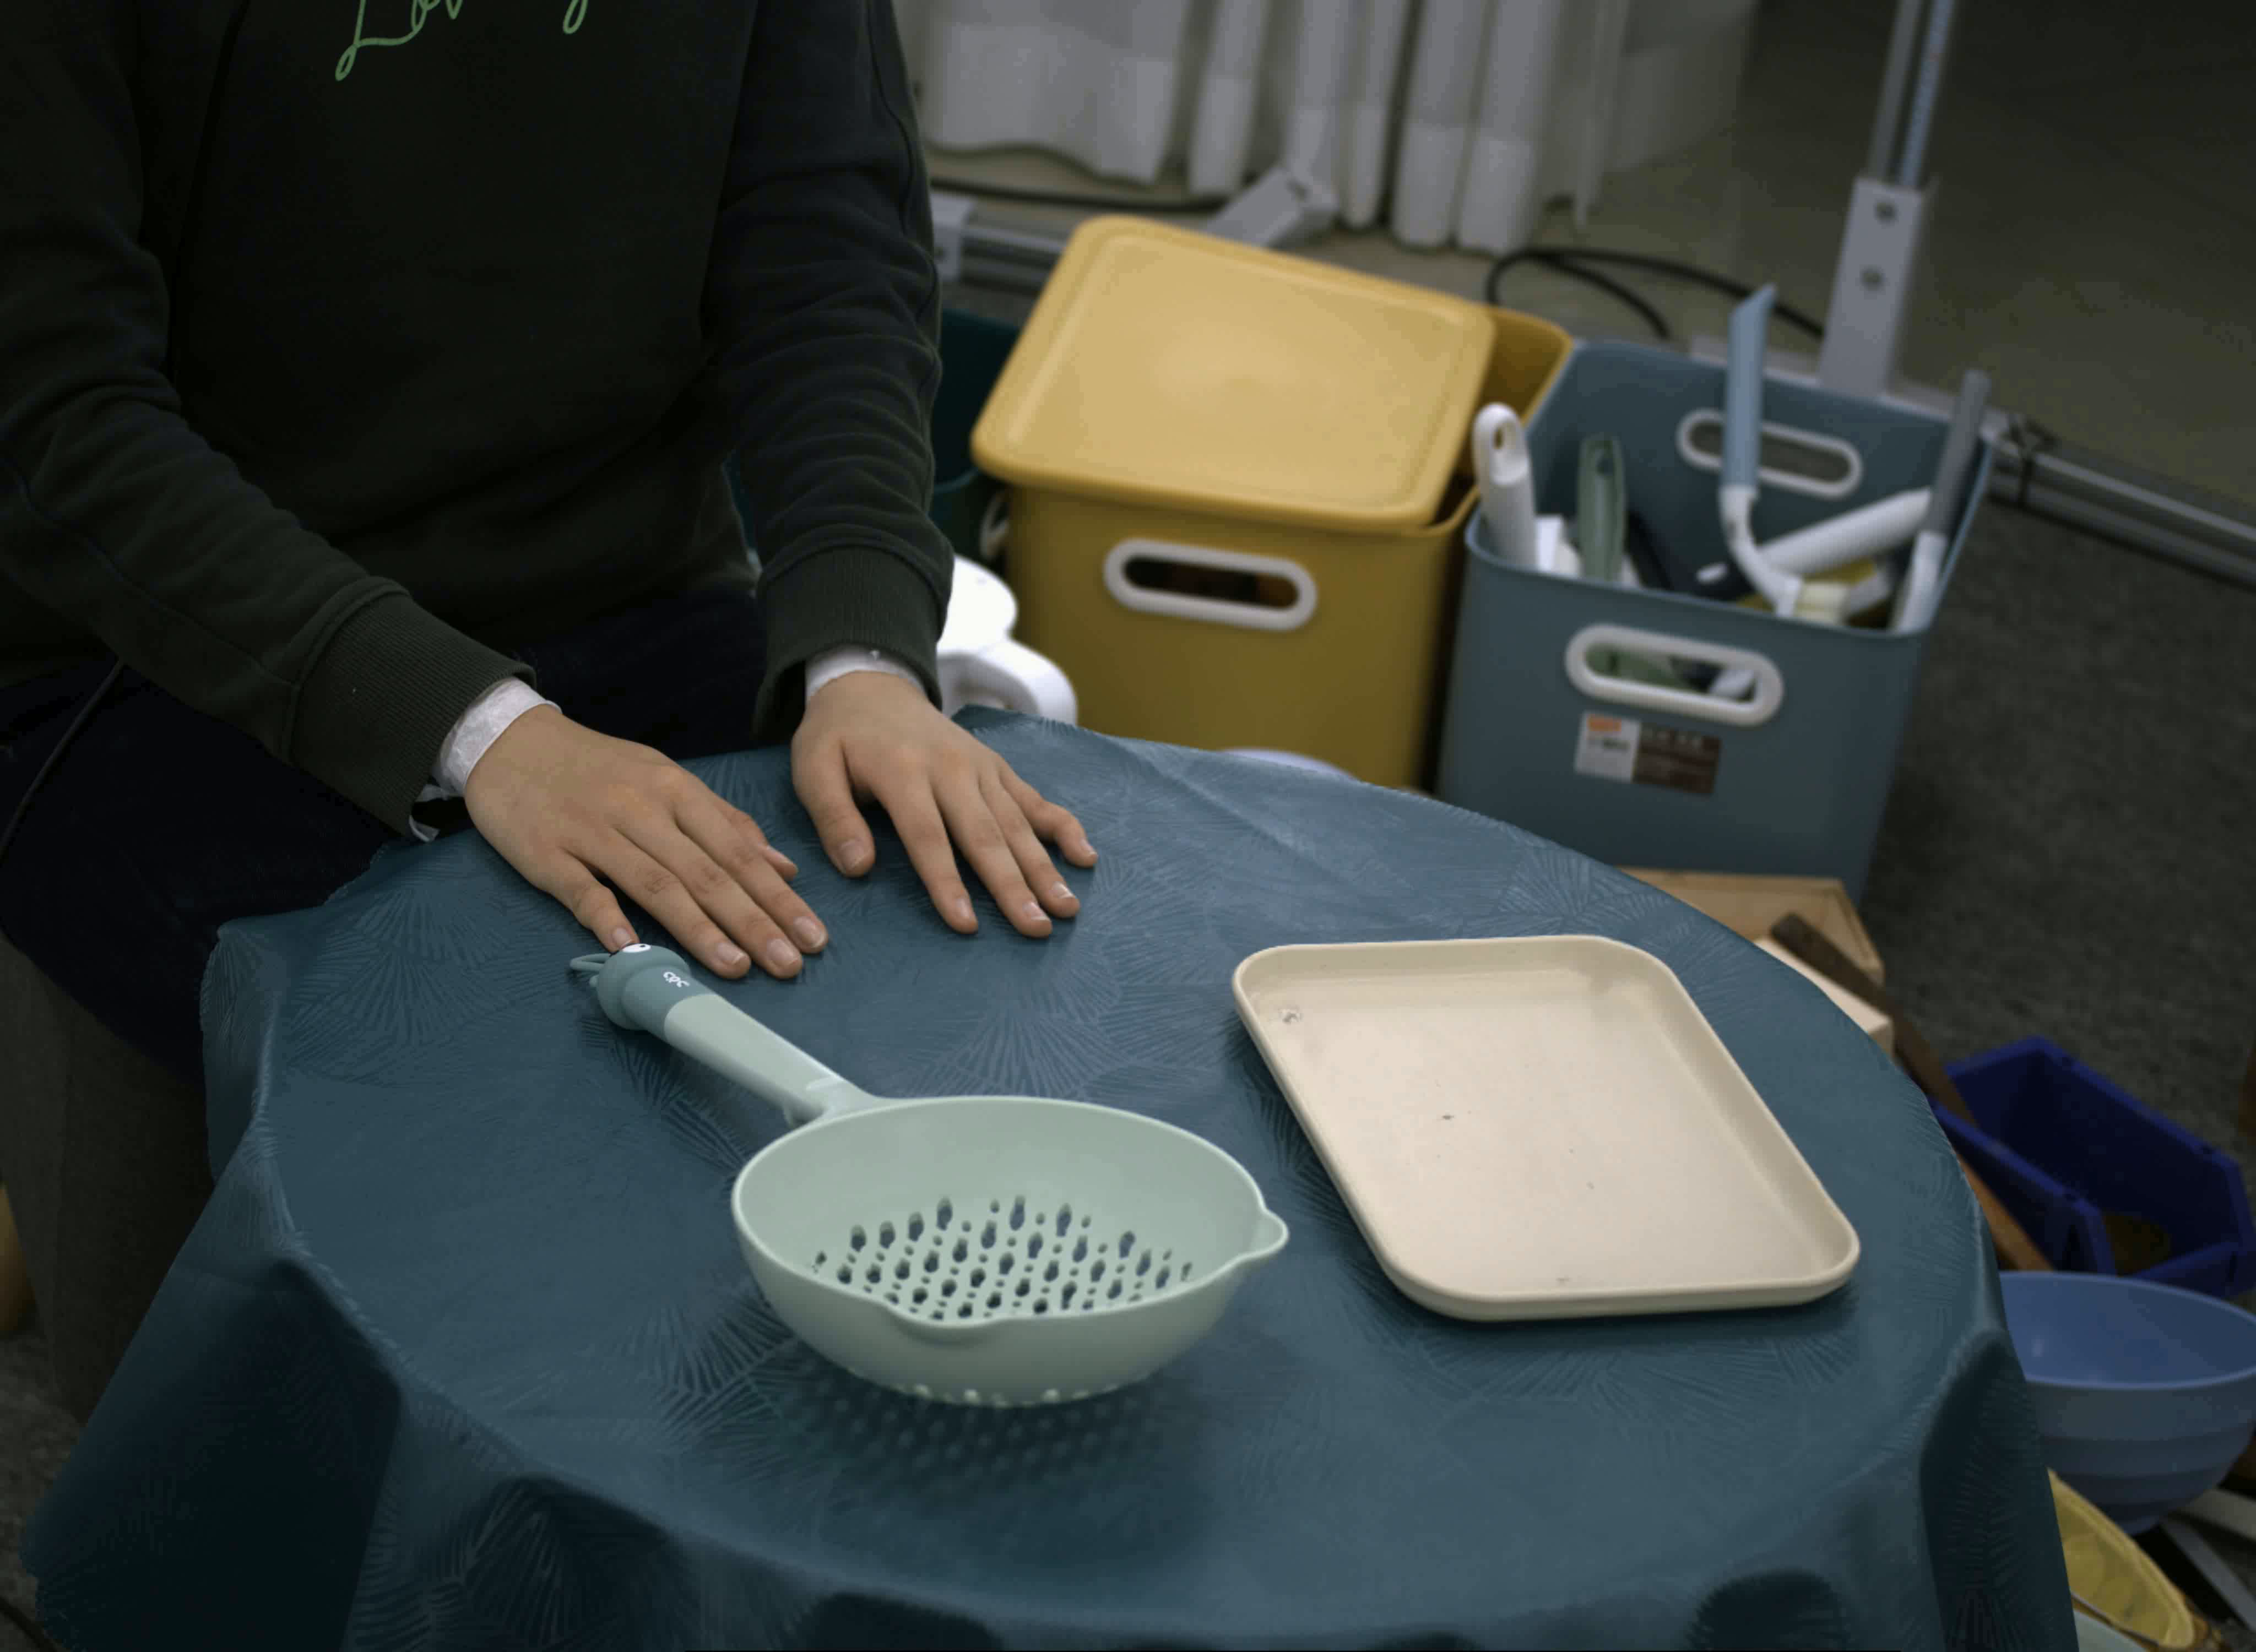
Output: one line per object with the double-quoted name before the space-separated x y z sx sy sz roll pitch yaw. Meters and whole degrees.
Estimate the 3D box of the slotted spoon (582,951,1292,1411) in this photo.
"slotted spoon" -0.093 0.101 1.754 0.168 0.075 0.362 -10 30 -31

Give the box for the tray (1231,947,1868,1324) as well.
"tray" 0.142 0.106 1.849 0.170 0.017 0.242 -2 27 -16
